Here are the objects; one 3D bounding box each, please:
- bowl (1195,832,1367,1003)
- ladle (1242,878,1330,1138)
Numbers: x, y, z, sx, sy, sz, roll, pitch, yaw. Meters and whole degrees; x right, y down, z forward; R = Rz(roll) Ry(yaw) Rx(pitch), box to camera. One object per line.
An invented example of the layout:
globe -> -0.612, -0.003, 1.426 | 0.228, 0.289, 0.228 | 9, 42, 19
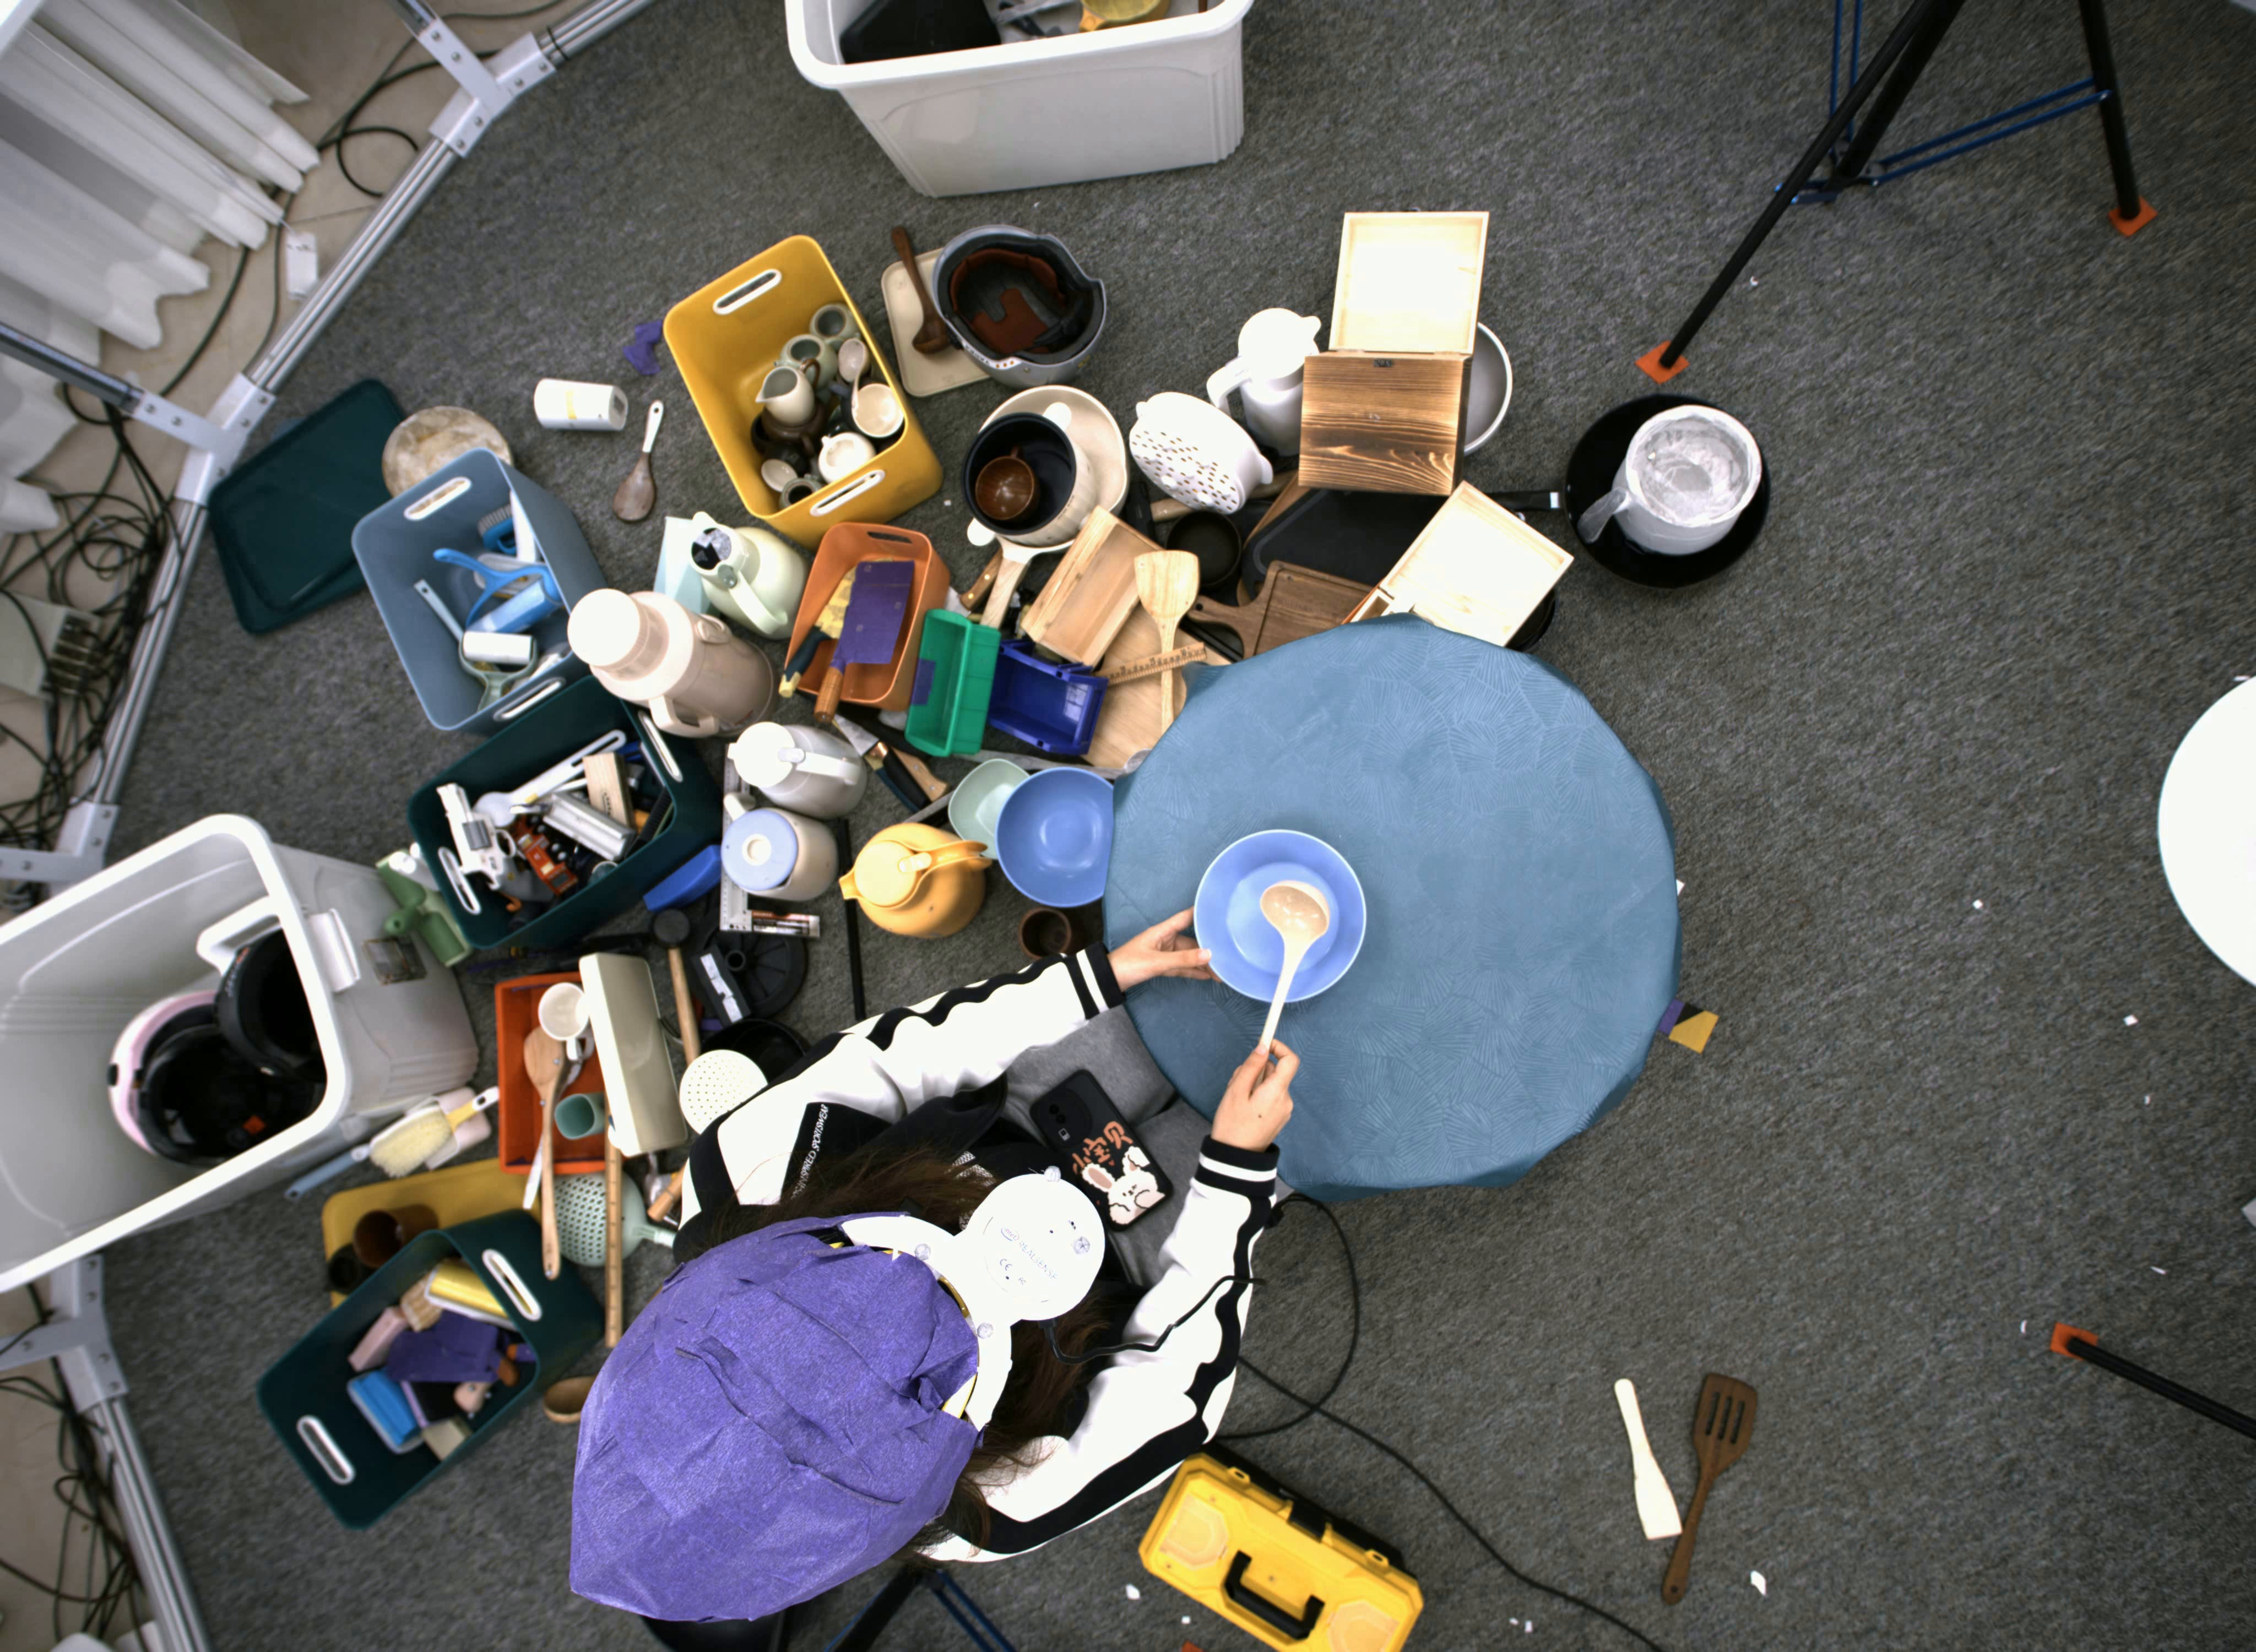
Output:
bowl -> 0.160, 0.096, 1.444 | 0.177, 0.070, 0.175 | -1, 85, 11
ladle -> 0.139, 0.174, 1.358 | 0.072, 0.073, 0.251 | 9, 74, 29
